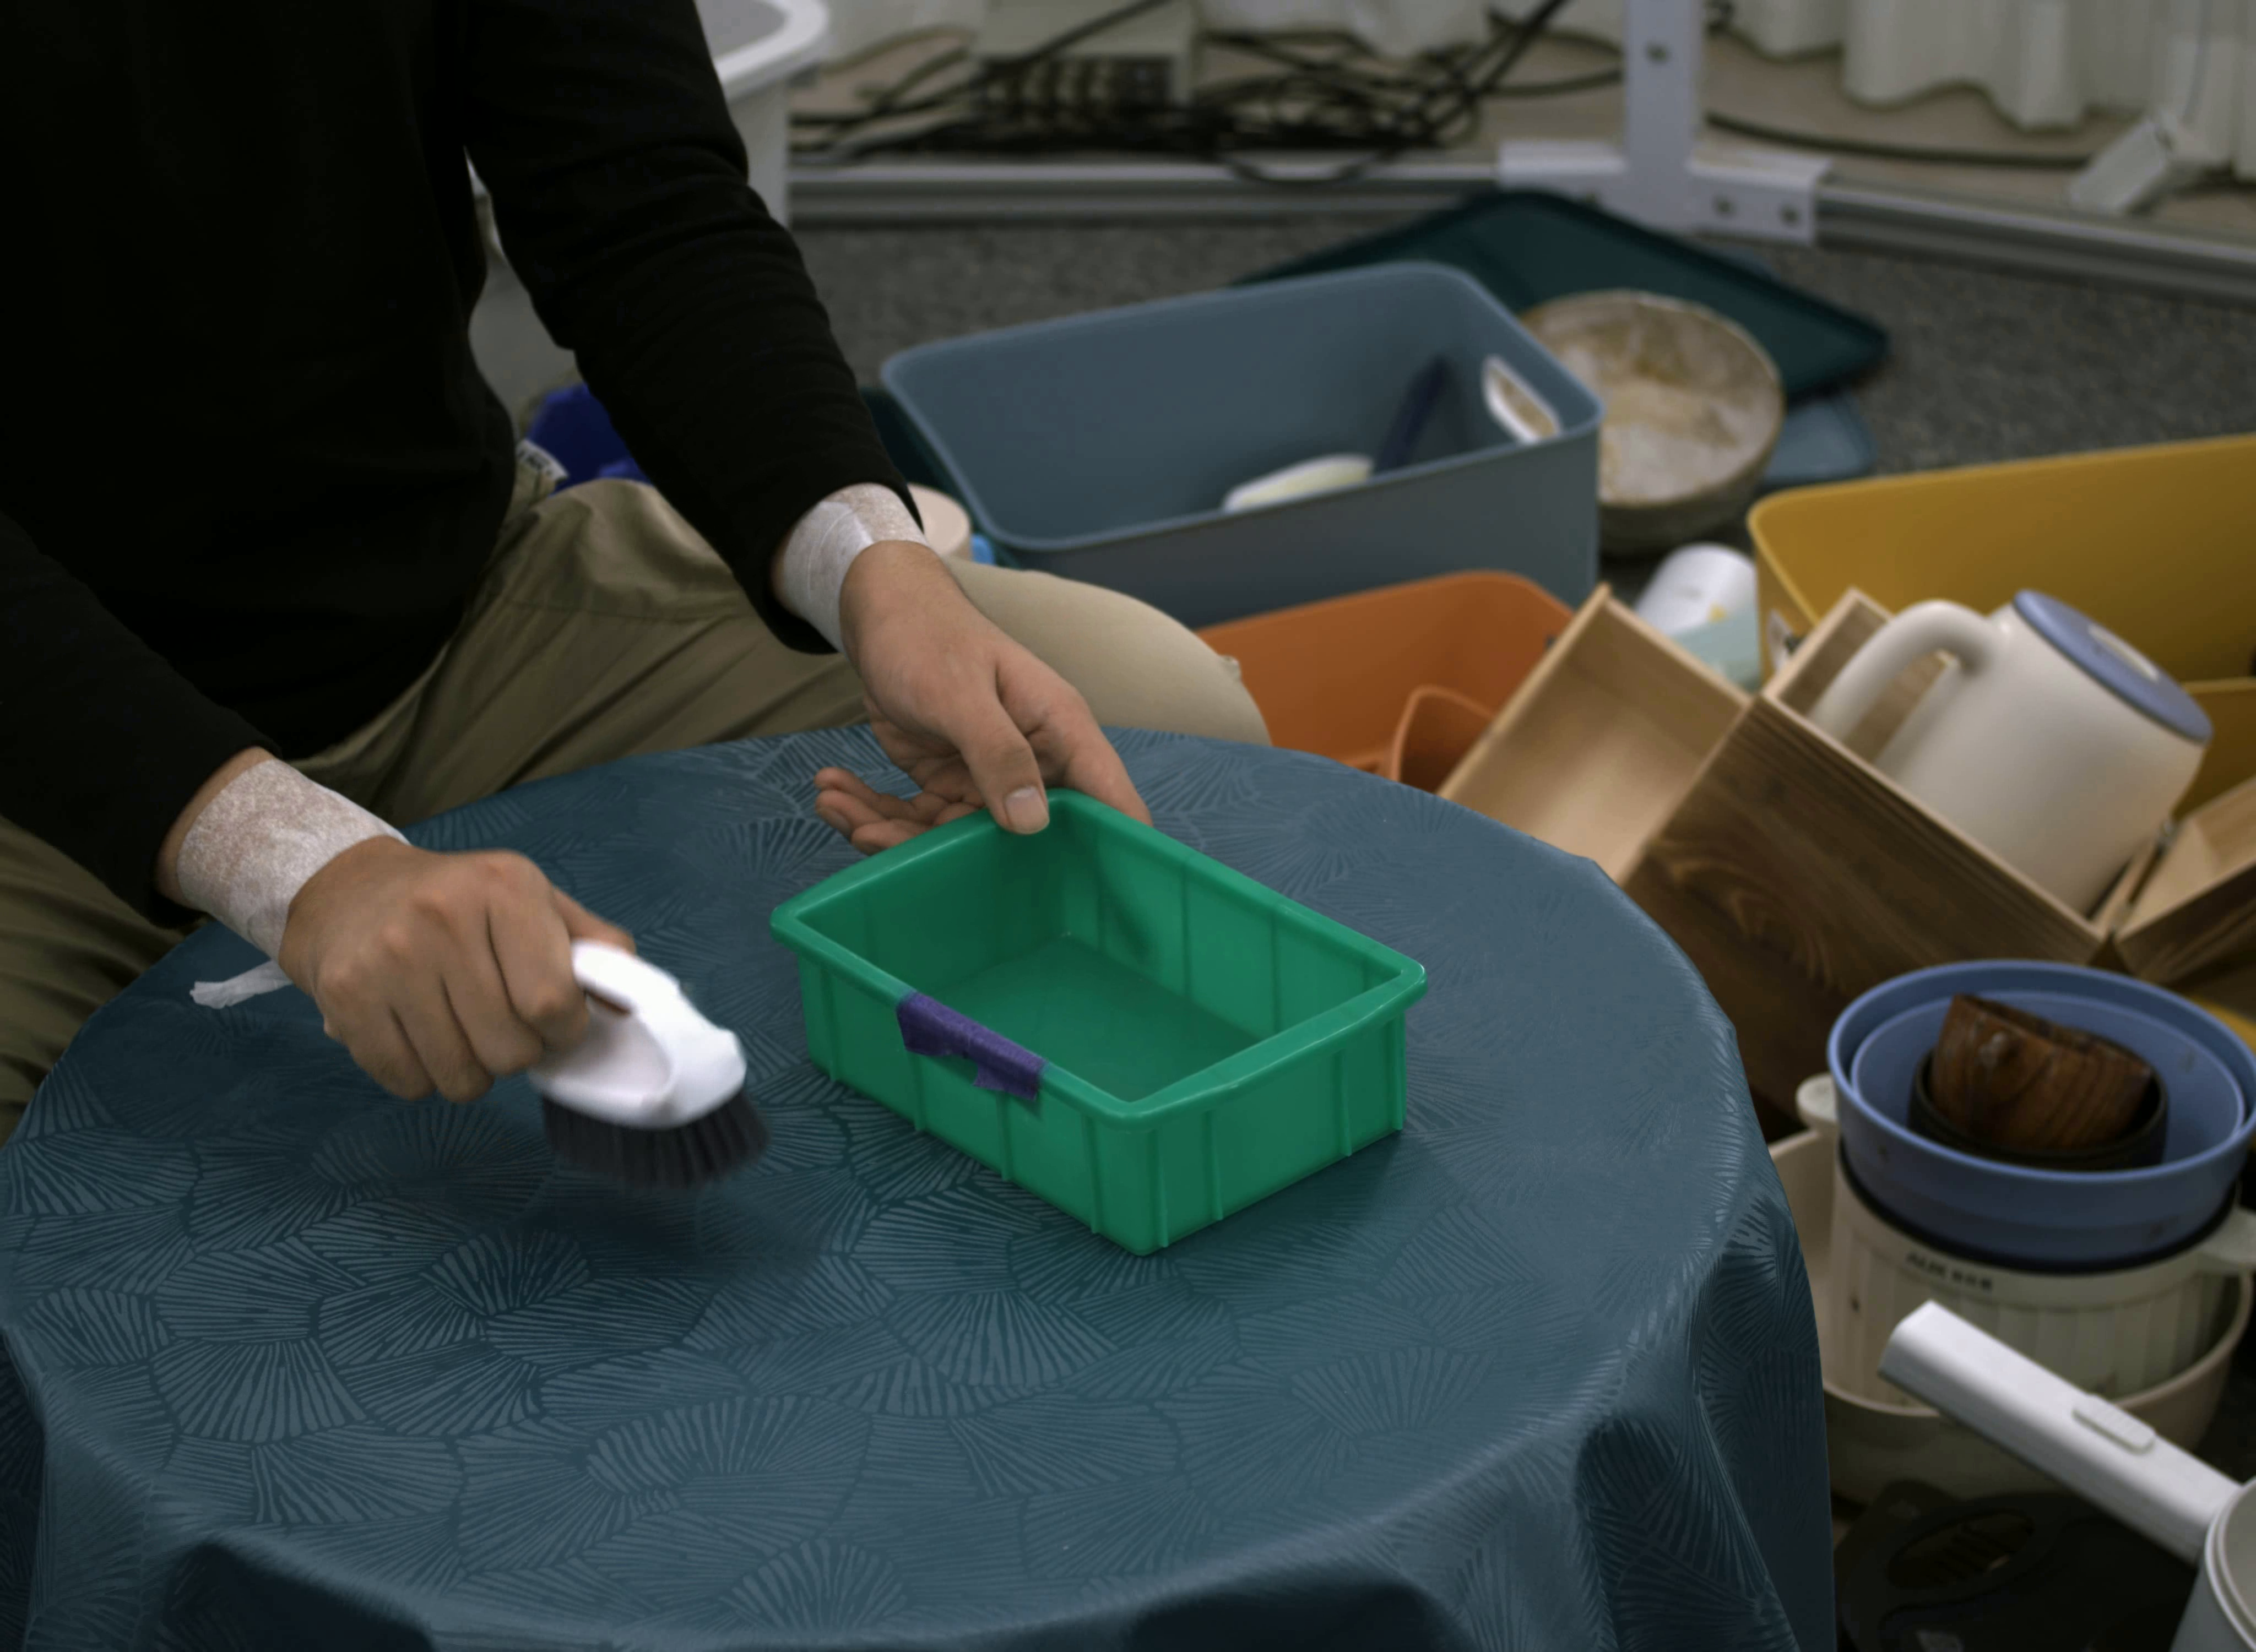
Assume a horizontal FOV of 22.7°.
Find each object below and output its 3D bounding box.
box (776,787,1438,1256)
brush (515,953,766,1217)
[{"bbox_3d":[-0.007,0.066,1.902,0.140,0.064,0.210,-26,36,-34],"label":"box"},{"bbox_3d":[-0.165,0.078,1.824,0.051,0.072,0.099,-30,28,-27],"label":"brush"}]
